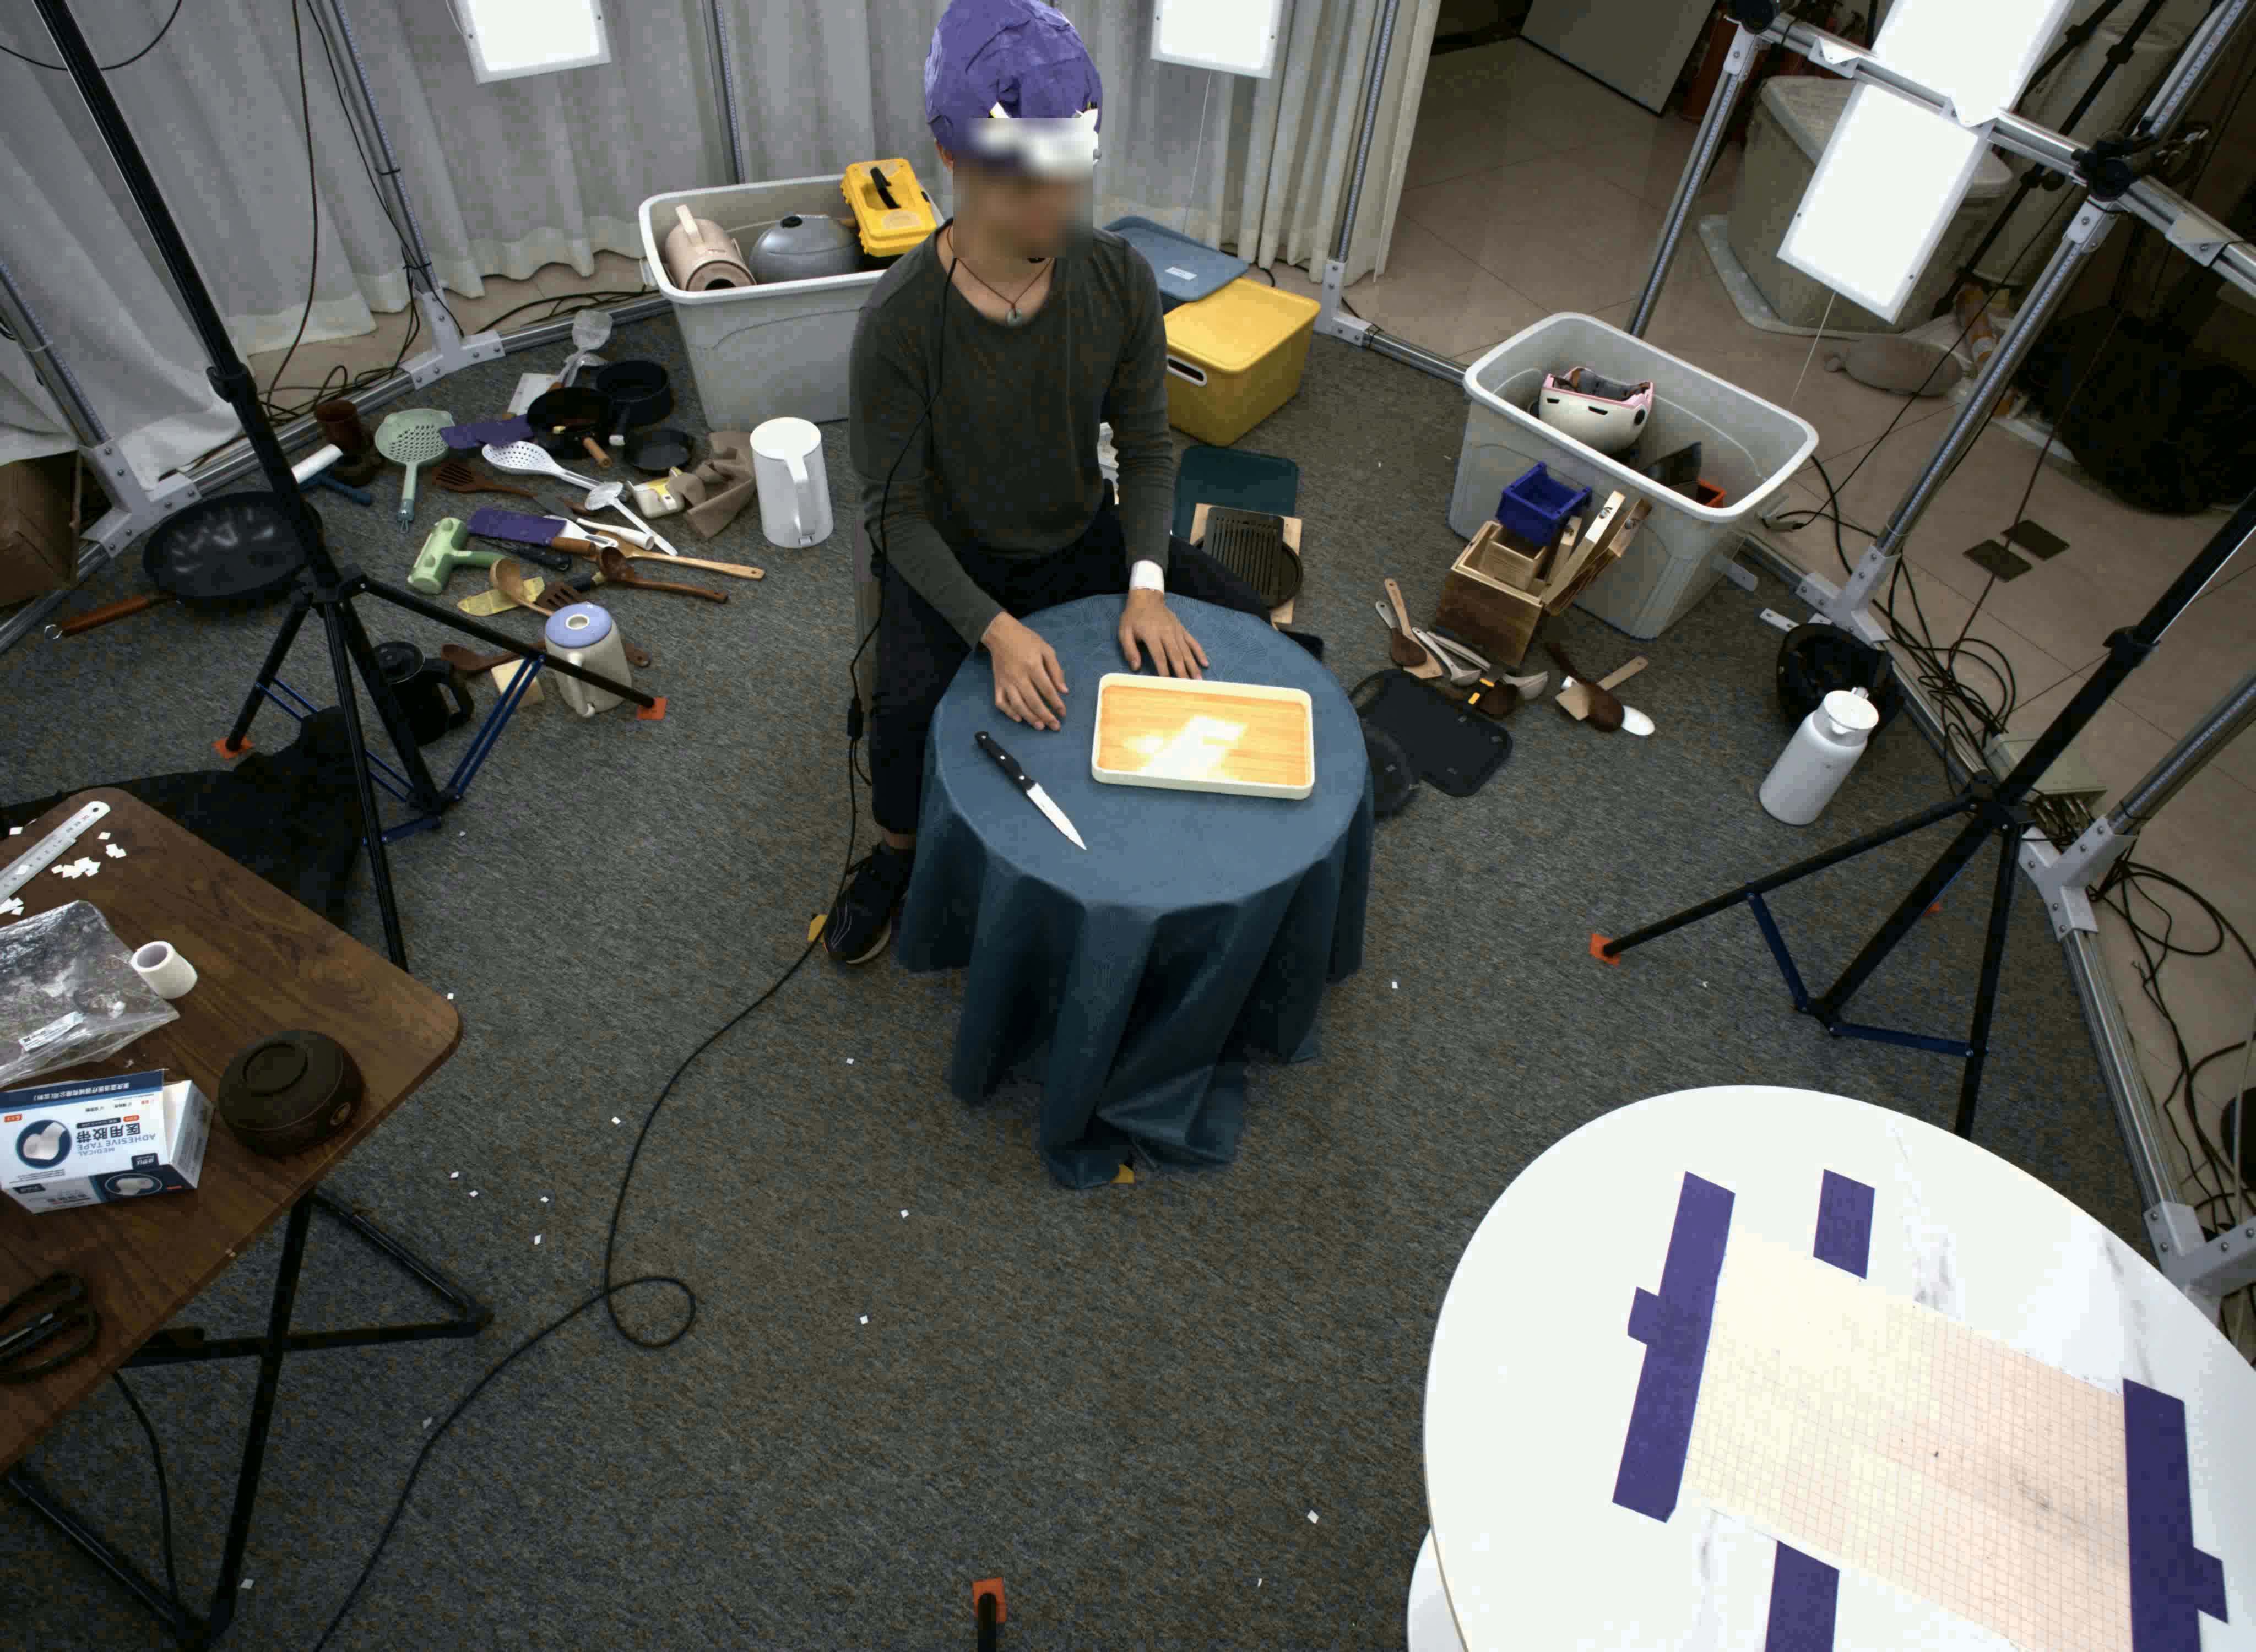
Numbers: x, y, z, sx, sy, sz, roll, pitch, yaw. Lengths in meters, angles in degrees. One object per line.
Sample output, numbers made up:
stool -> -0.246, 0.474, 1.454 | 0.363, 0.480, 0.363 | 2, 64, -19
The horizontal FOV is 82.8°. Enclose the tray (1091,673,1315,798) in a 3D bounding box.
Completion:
tray -> 0.104, -0.126, 1.767 | 0.300, 0.027, 0.196 | 5, 48, 0

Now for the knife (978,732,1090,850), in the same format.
knife -> -0.127, -0.046, 1.691 | 0.024, 0.016, 0.242 | -31, 60, -24
